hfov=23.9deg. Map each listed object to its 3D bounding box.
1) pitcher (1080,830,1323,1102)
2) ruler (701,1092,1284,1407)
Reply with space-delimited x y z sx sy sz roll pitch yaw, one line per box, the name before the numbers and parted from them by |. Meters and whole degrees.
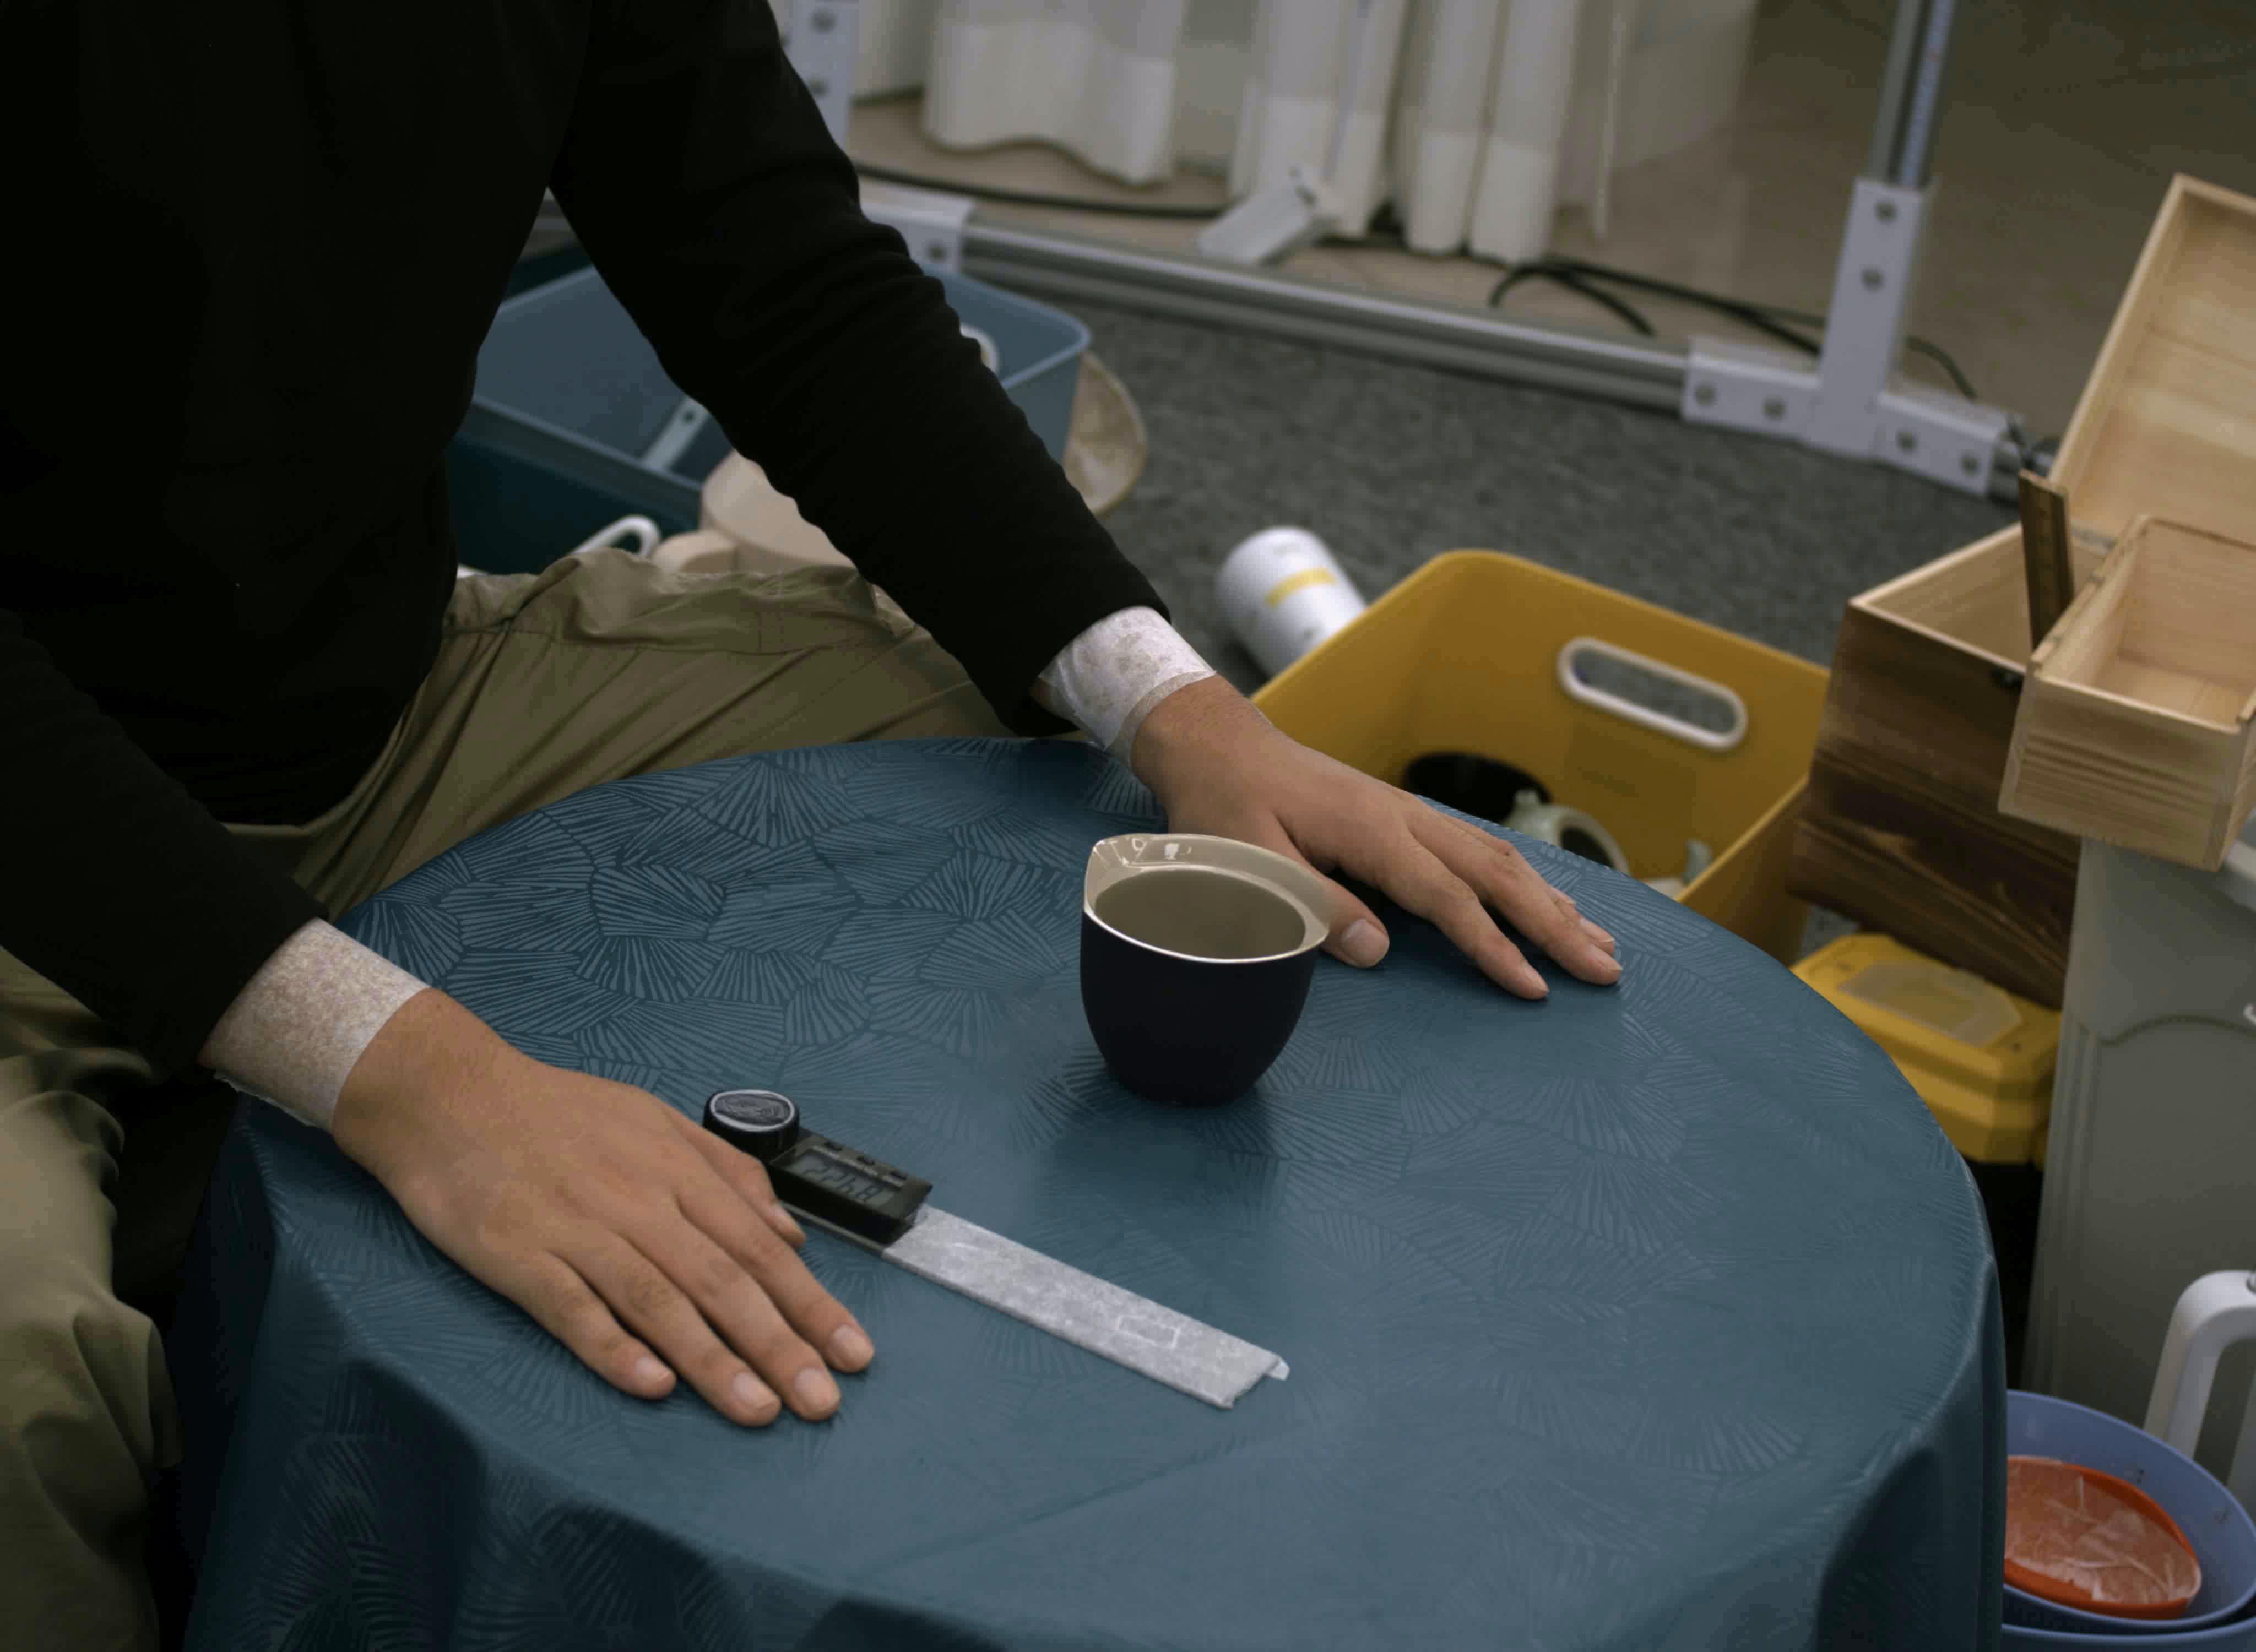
pitcher | 0.020 0.052 1.866 0.083 0.071 0.097 -17 36 -37
ruler | -0.049 0.136 1.743 0.219 0.024 0.038 20 36 28
